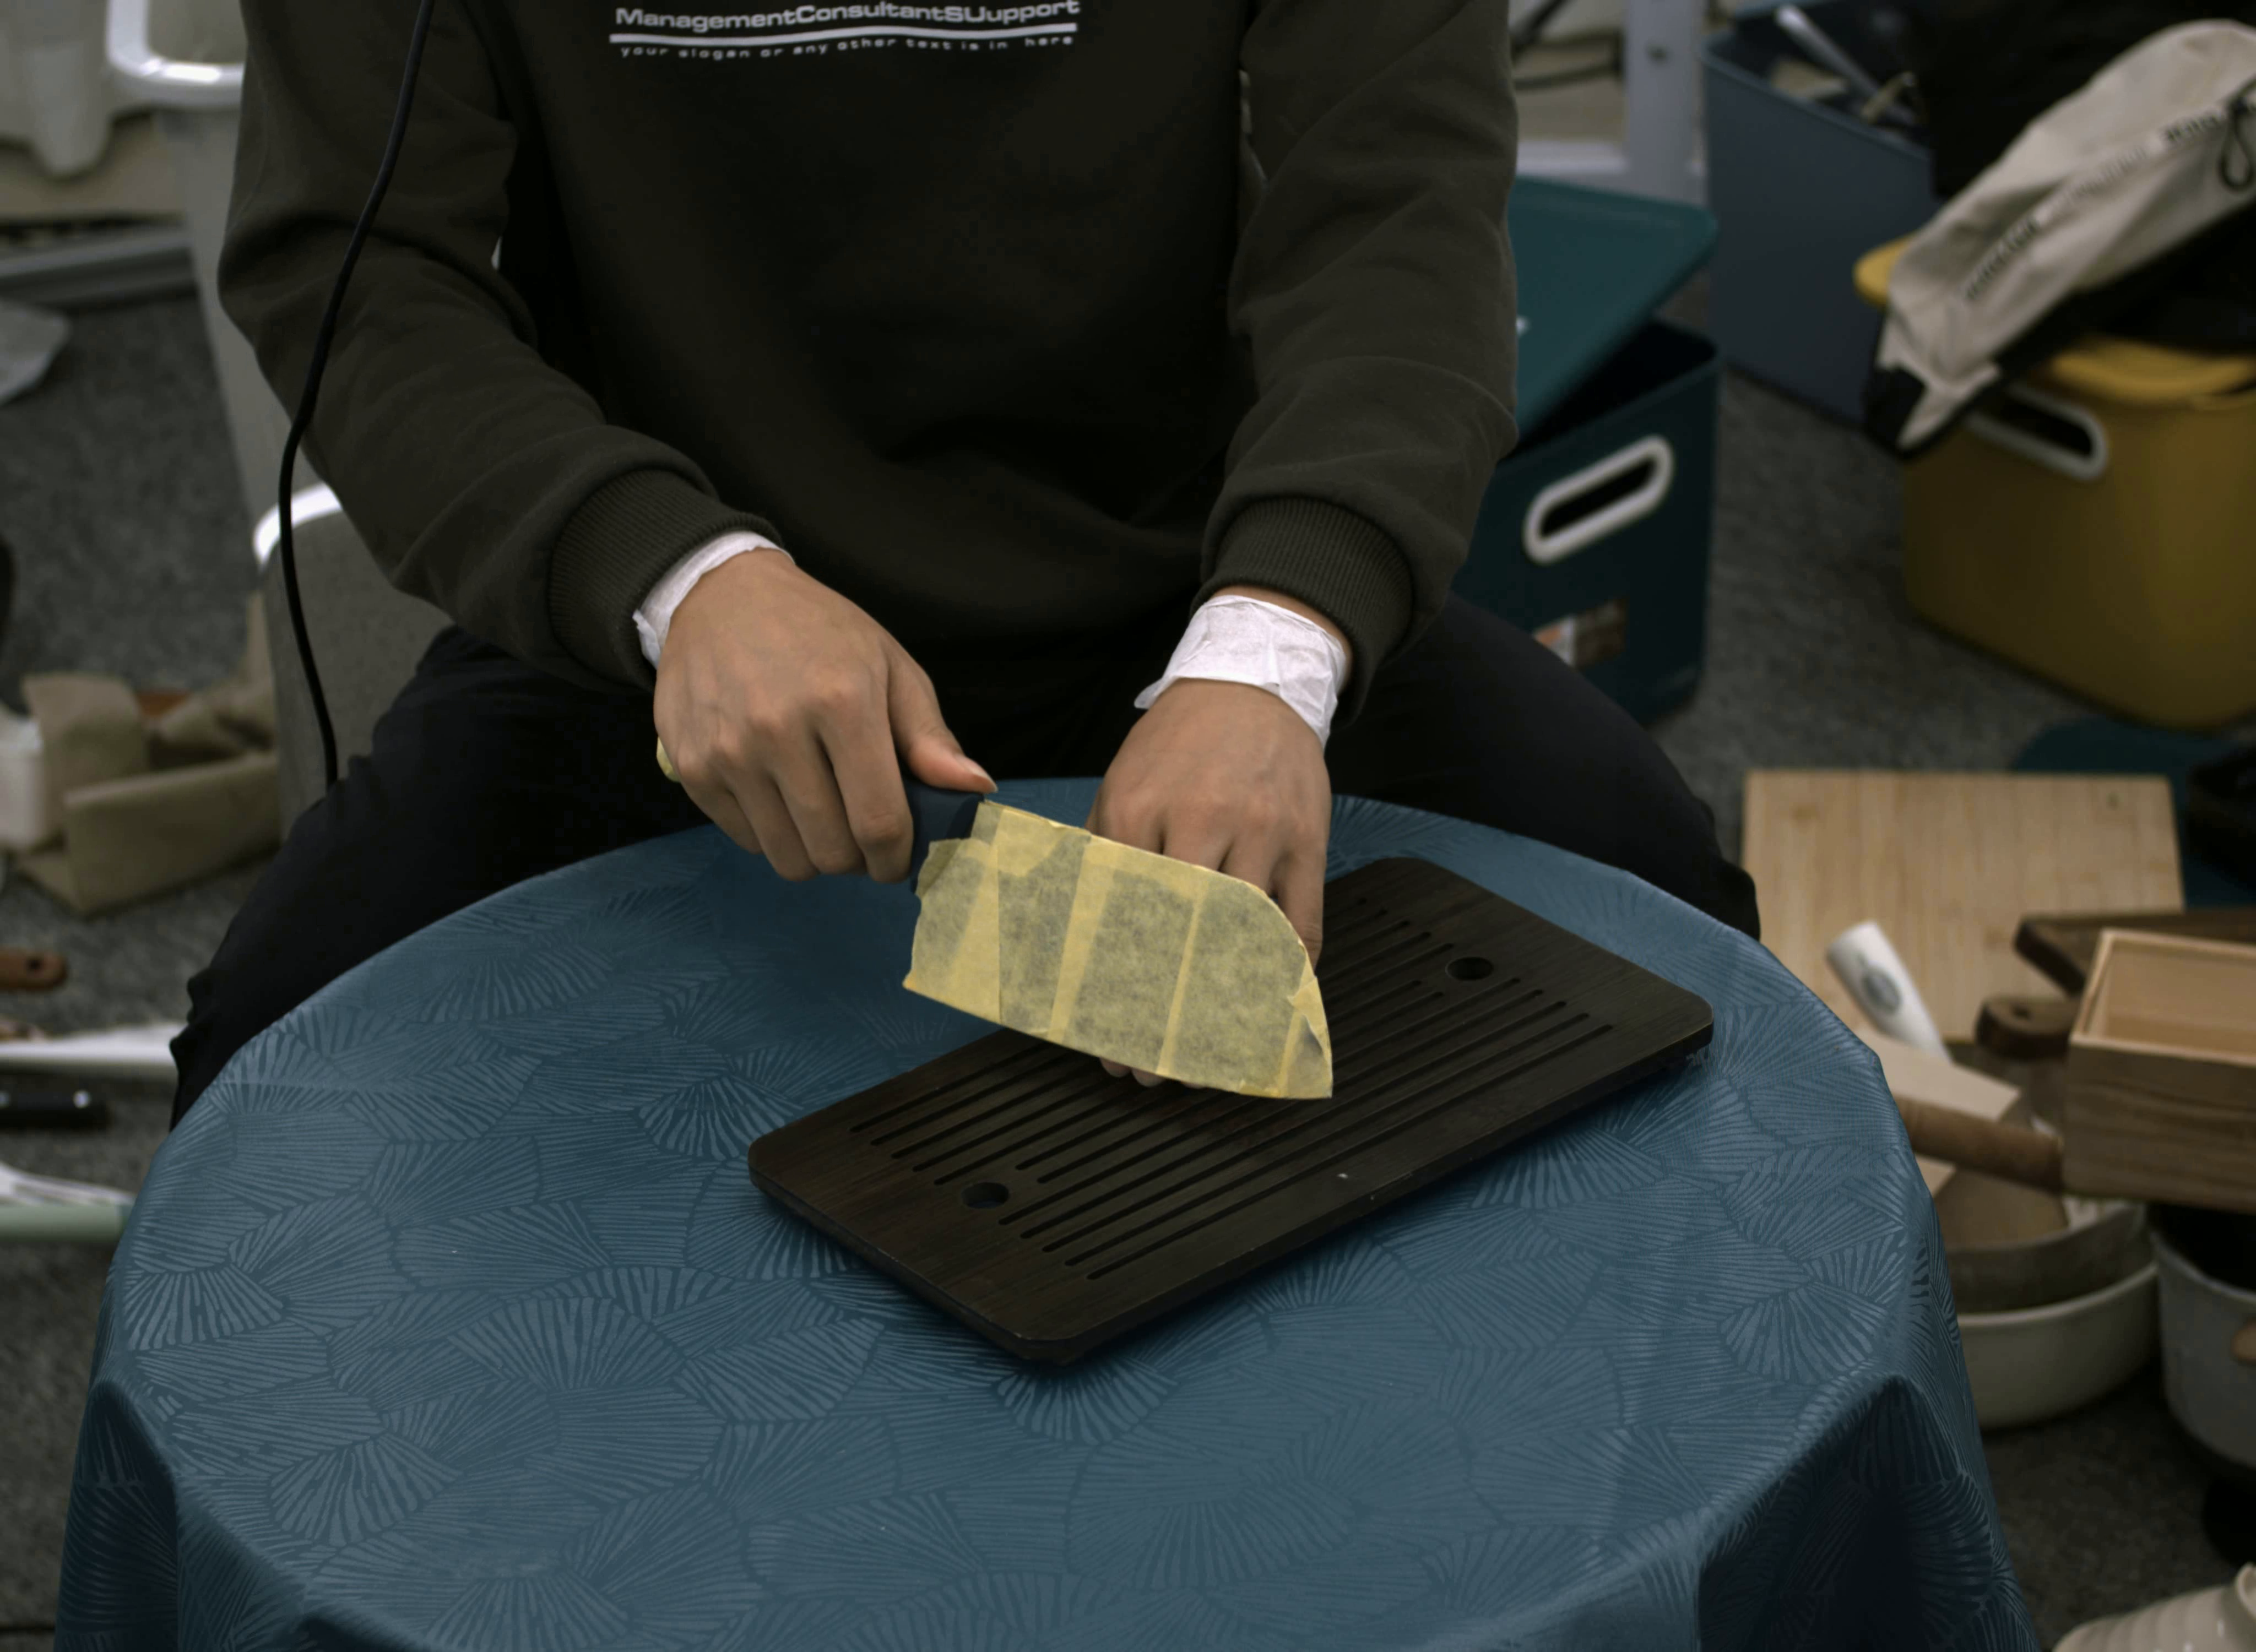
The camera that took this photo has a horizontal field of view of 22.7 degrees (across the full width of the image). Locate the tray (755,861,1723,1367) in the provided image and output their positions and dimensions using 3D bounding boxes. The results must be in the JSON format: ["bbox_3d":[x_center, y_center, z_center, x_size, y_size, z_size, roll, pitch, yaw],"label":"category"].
[{"bbox_3d":[0.040,0.094,1.891,0.309,0.018,0.170,-23,33,-34],"label":"tray"}]

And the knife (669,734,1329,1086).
[{"bbox_3d":[-0.048,0.026,1.919,0.288,0.081,0.027,20,5,33],"label":"knife"}]
